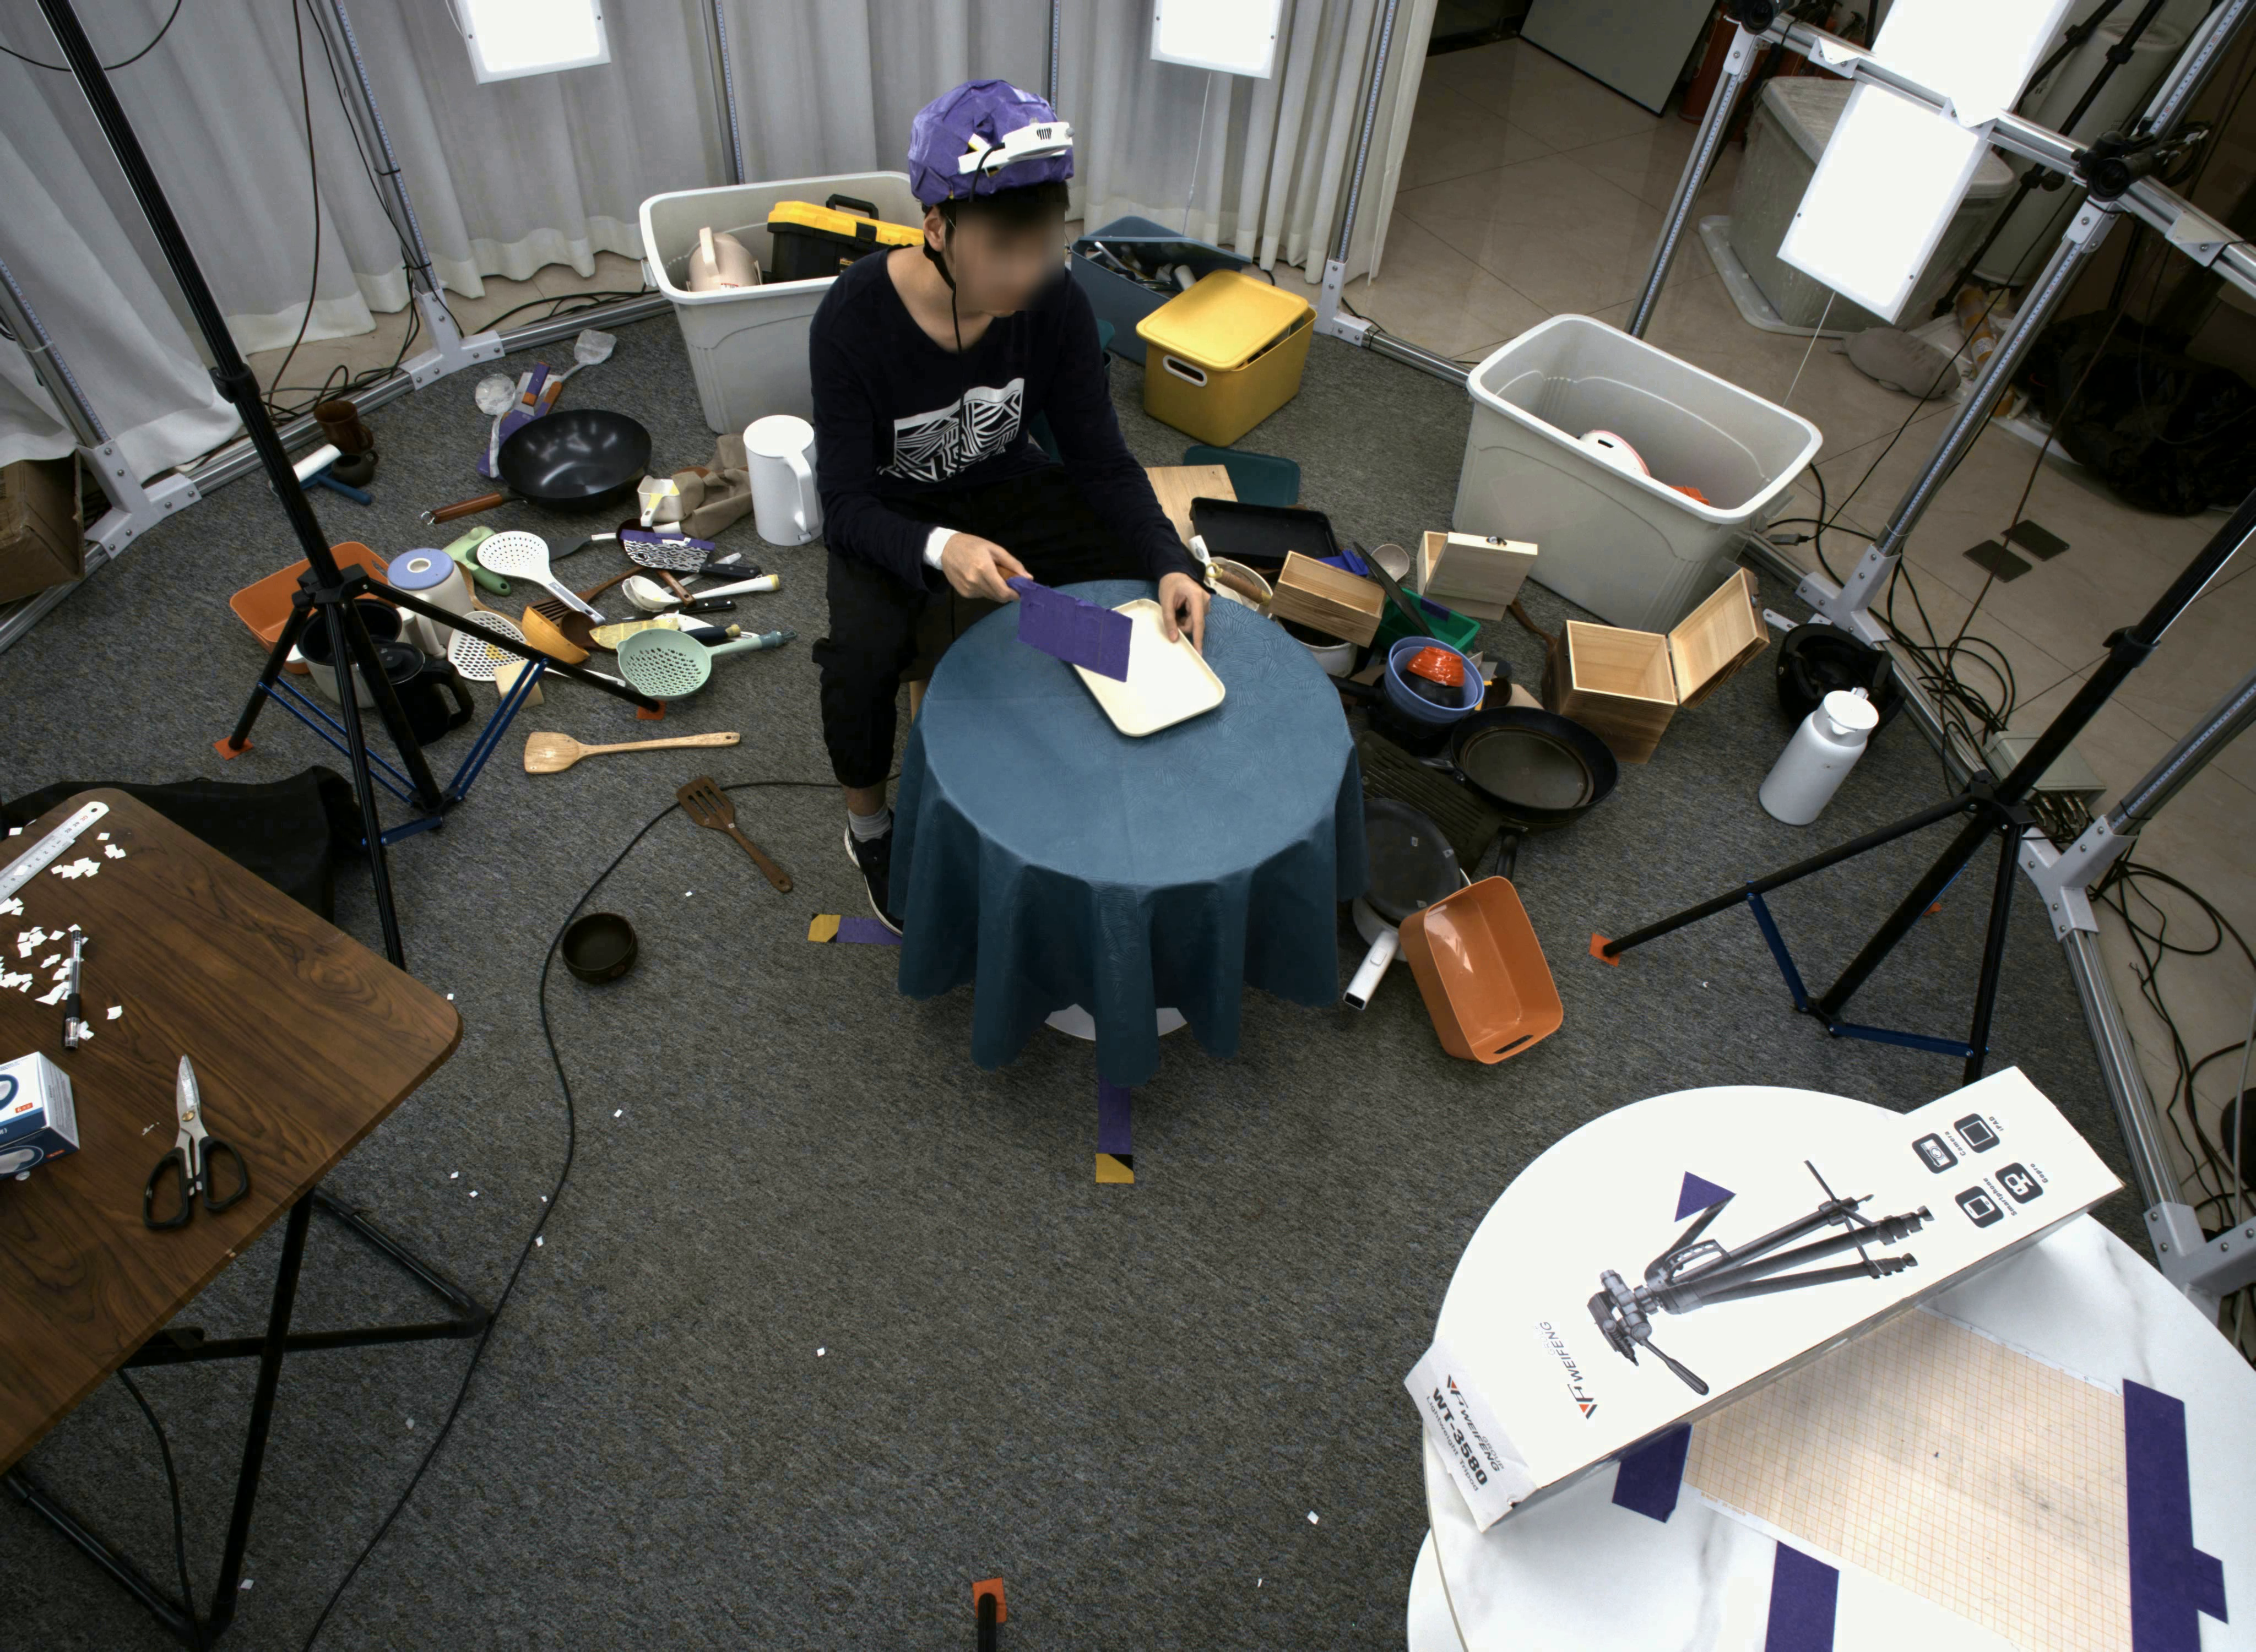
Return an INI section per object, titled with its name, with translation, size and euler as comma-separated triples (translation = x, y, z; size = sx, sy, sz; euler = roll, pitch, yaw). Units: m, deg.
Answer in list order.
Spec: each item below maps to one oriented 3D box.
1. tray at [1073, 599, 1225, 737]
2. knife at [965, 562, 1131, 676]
[tray]
translation = 0.018, -0.229, 1.848
size = 0.171, 0.017, 0.245
euler = -23, 55, -15
[knife]
translation = -0.115, -0.280, 1.739
size = 0.032, 0.102, 0.320
euler = -11, 28, -44
